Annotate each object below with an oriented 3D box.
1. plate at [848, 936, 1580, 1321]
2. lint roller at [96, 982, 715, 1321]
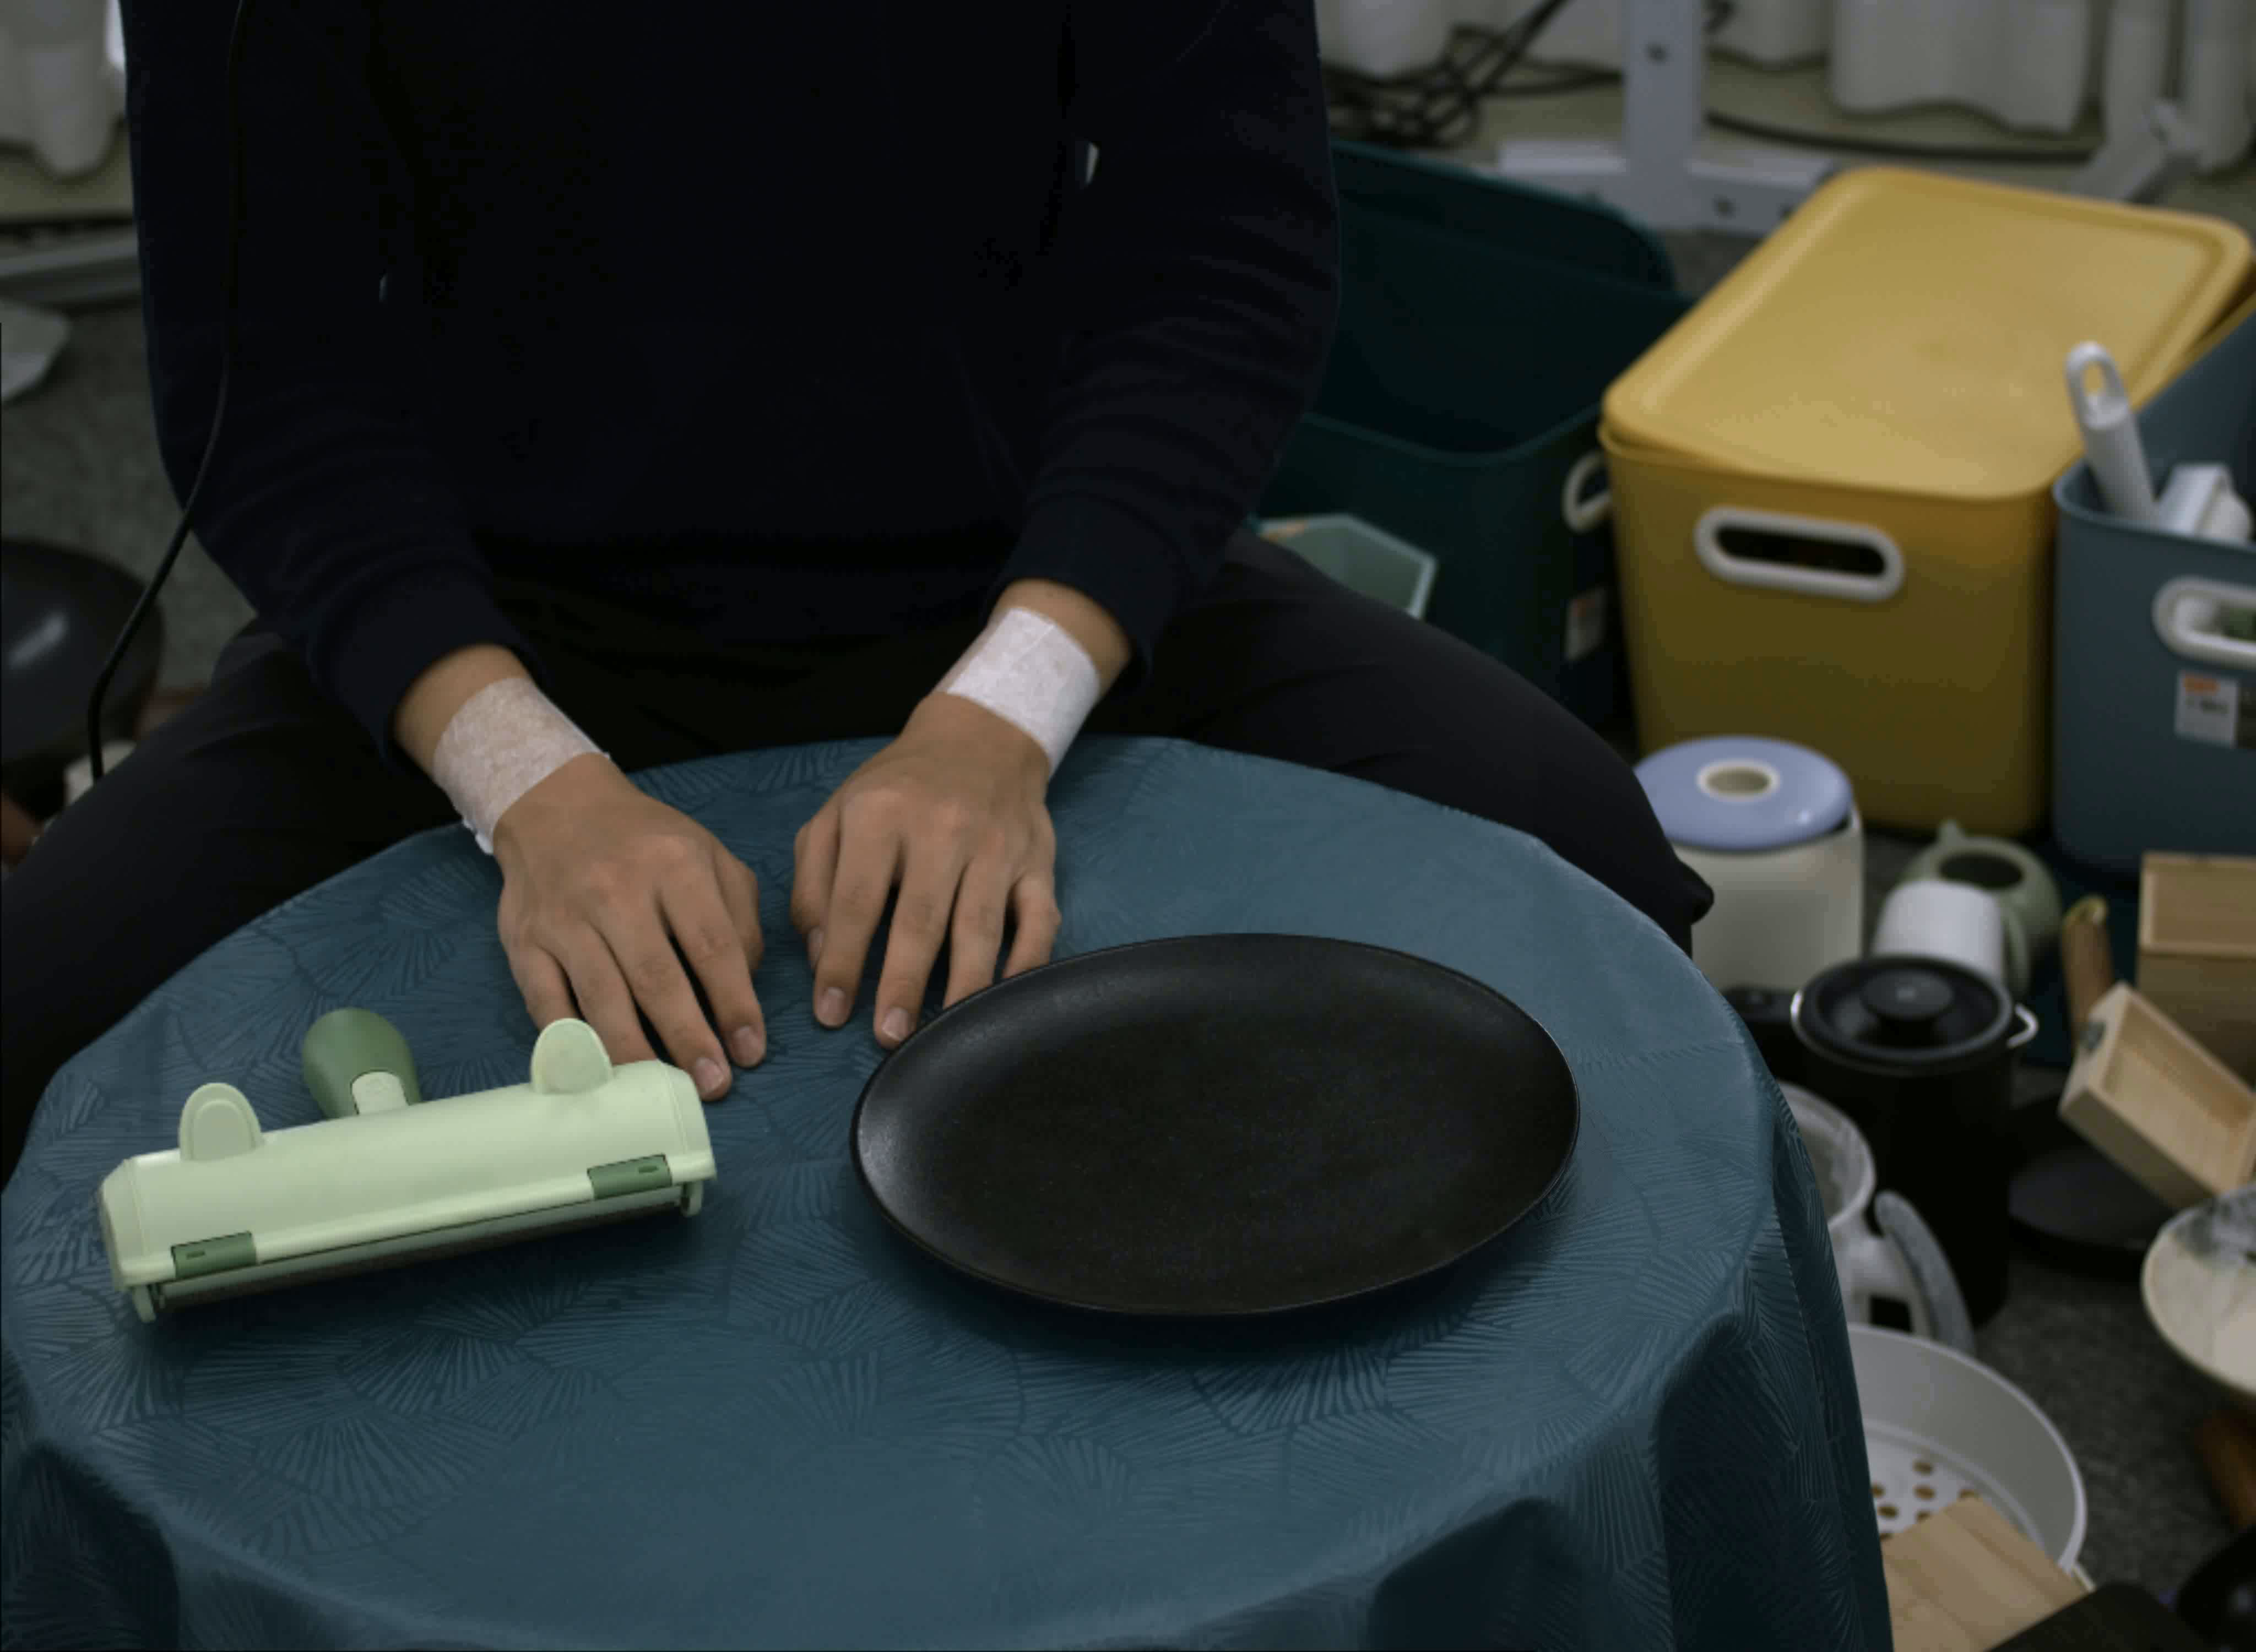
[{"bbox_3d":[0.029,0.105,1.866,0.243,0.023,0.248,-2,27,1],"label":"plate"},{"bbox_3d":[-0.252,0.083,1.870,0.199,0.081,0.185,-10,34,-15],"label":"lint roller"}]
